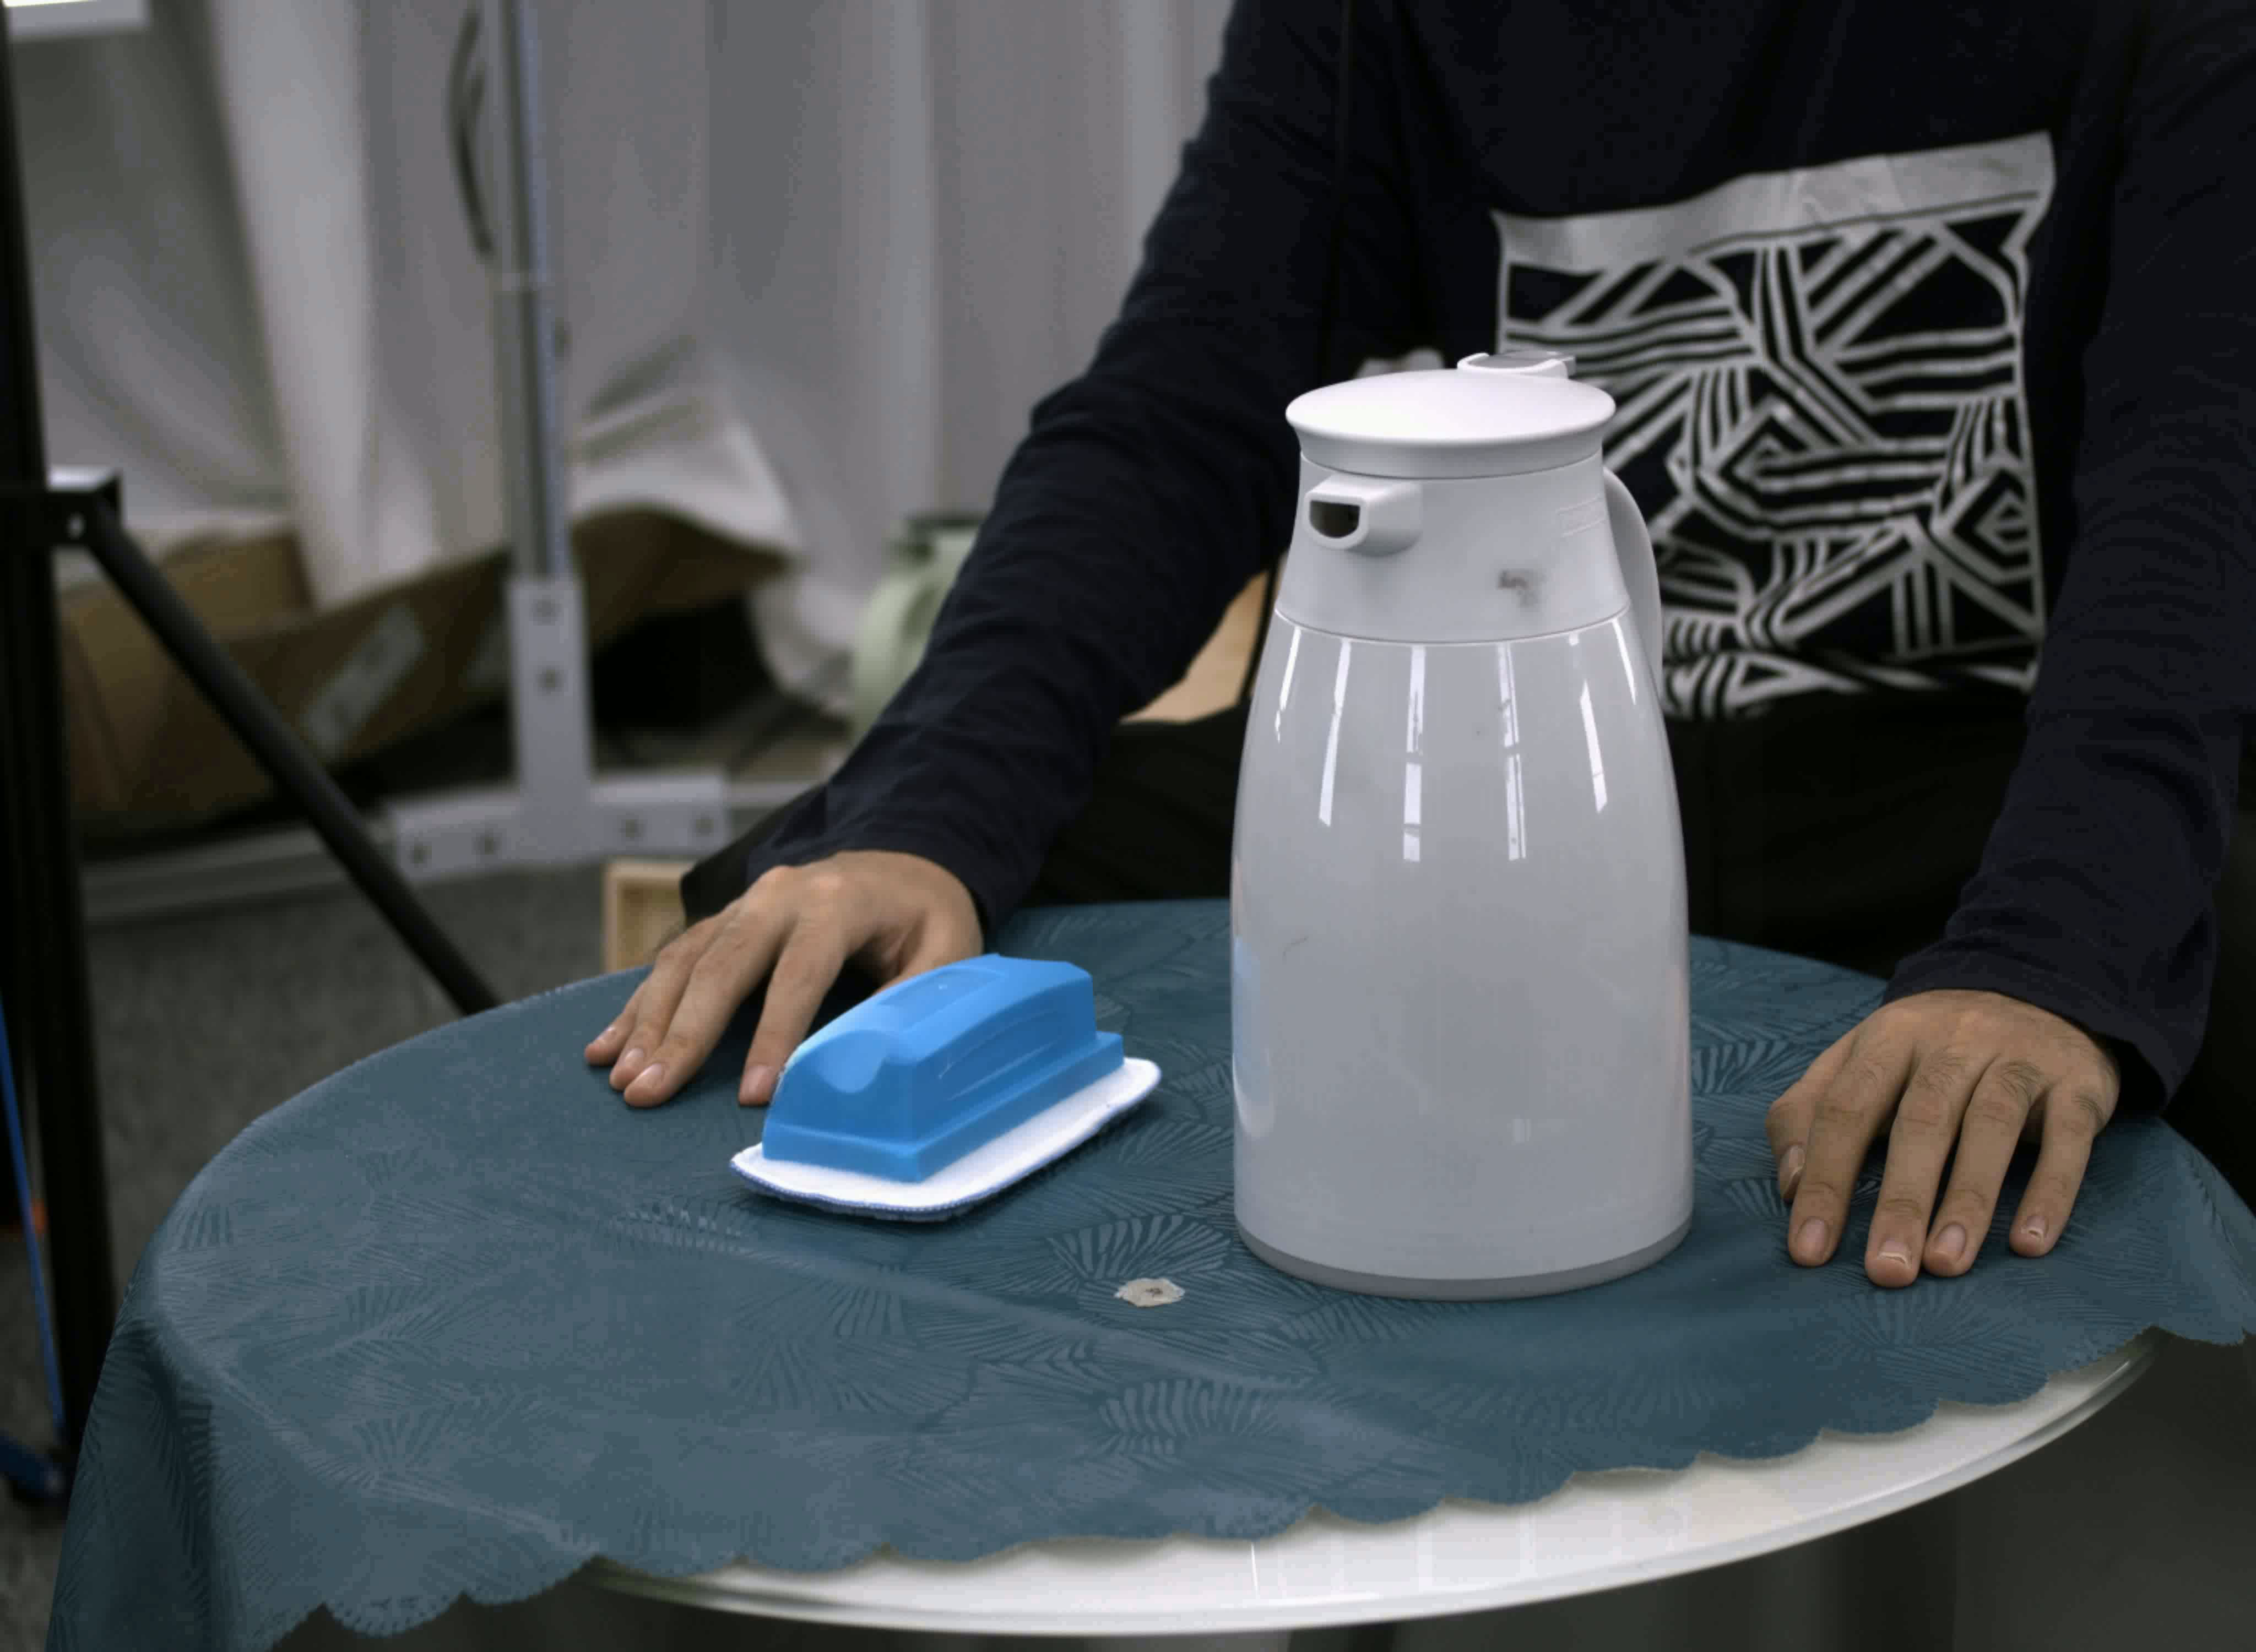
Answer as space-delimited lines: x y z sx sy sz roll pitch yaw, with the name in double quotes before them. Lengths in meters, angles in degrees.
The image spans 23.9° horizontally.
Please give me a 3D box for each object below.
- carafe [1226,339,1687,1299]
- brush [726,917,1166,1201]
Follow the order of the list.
"carafe" 0.101 -0.010 1.508 0.135 0.249 0.164 7 17 31
"brush" -0.053 0.066 1.605 0.085 0.056 0.141 12 23 31
